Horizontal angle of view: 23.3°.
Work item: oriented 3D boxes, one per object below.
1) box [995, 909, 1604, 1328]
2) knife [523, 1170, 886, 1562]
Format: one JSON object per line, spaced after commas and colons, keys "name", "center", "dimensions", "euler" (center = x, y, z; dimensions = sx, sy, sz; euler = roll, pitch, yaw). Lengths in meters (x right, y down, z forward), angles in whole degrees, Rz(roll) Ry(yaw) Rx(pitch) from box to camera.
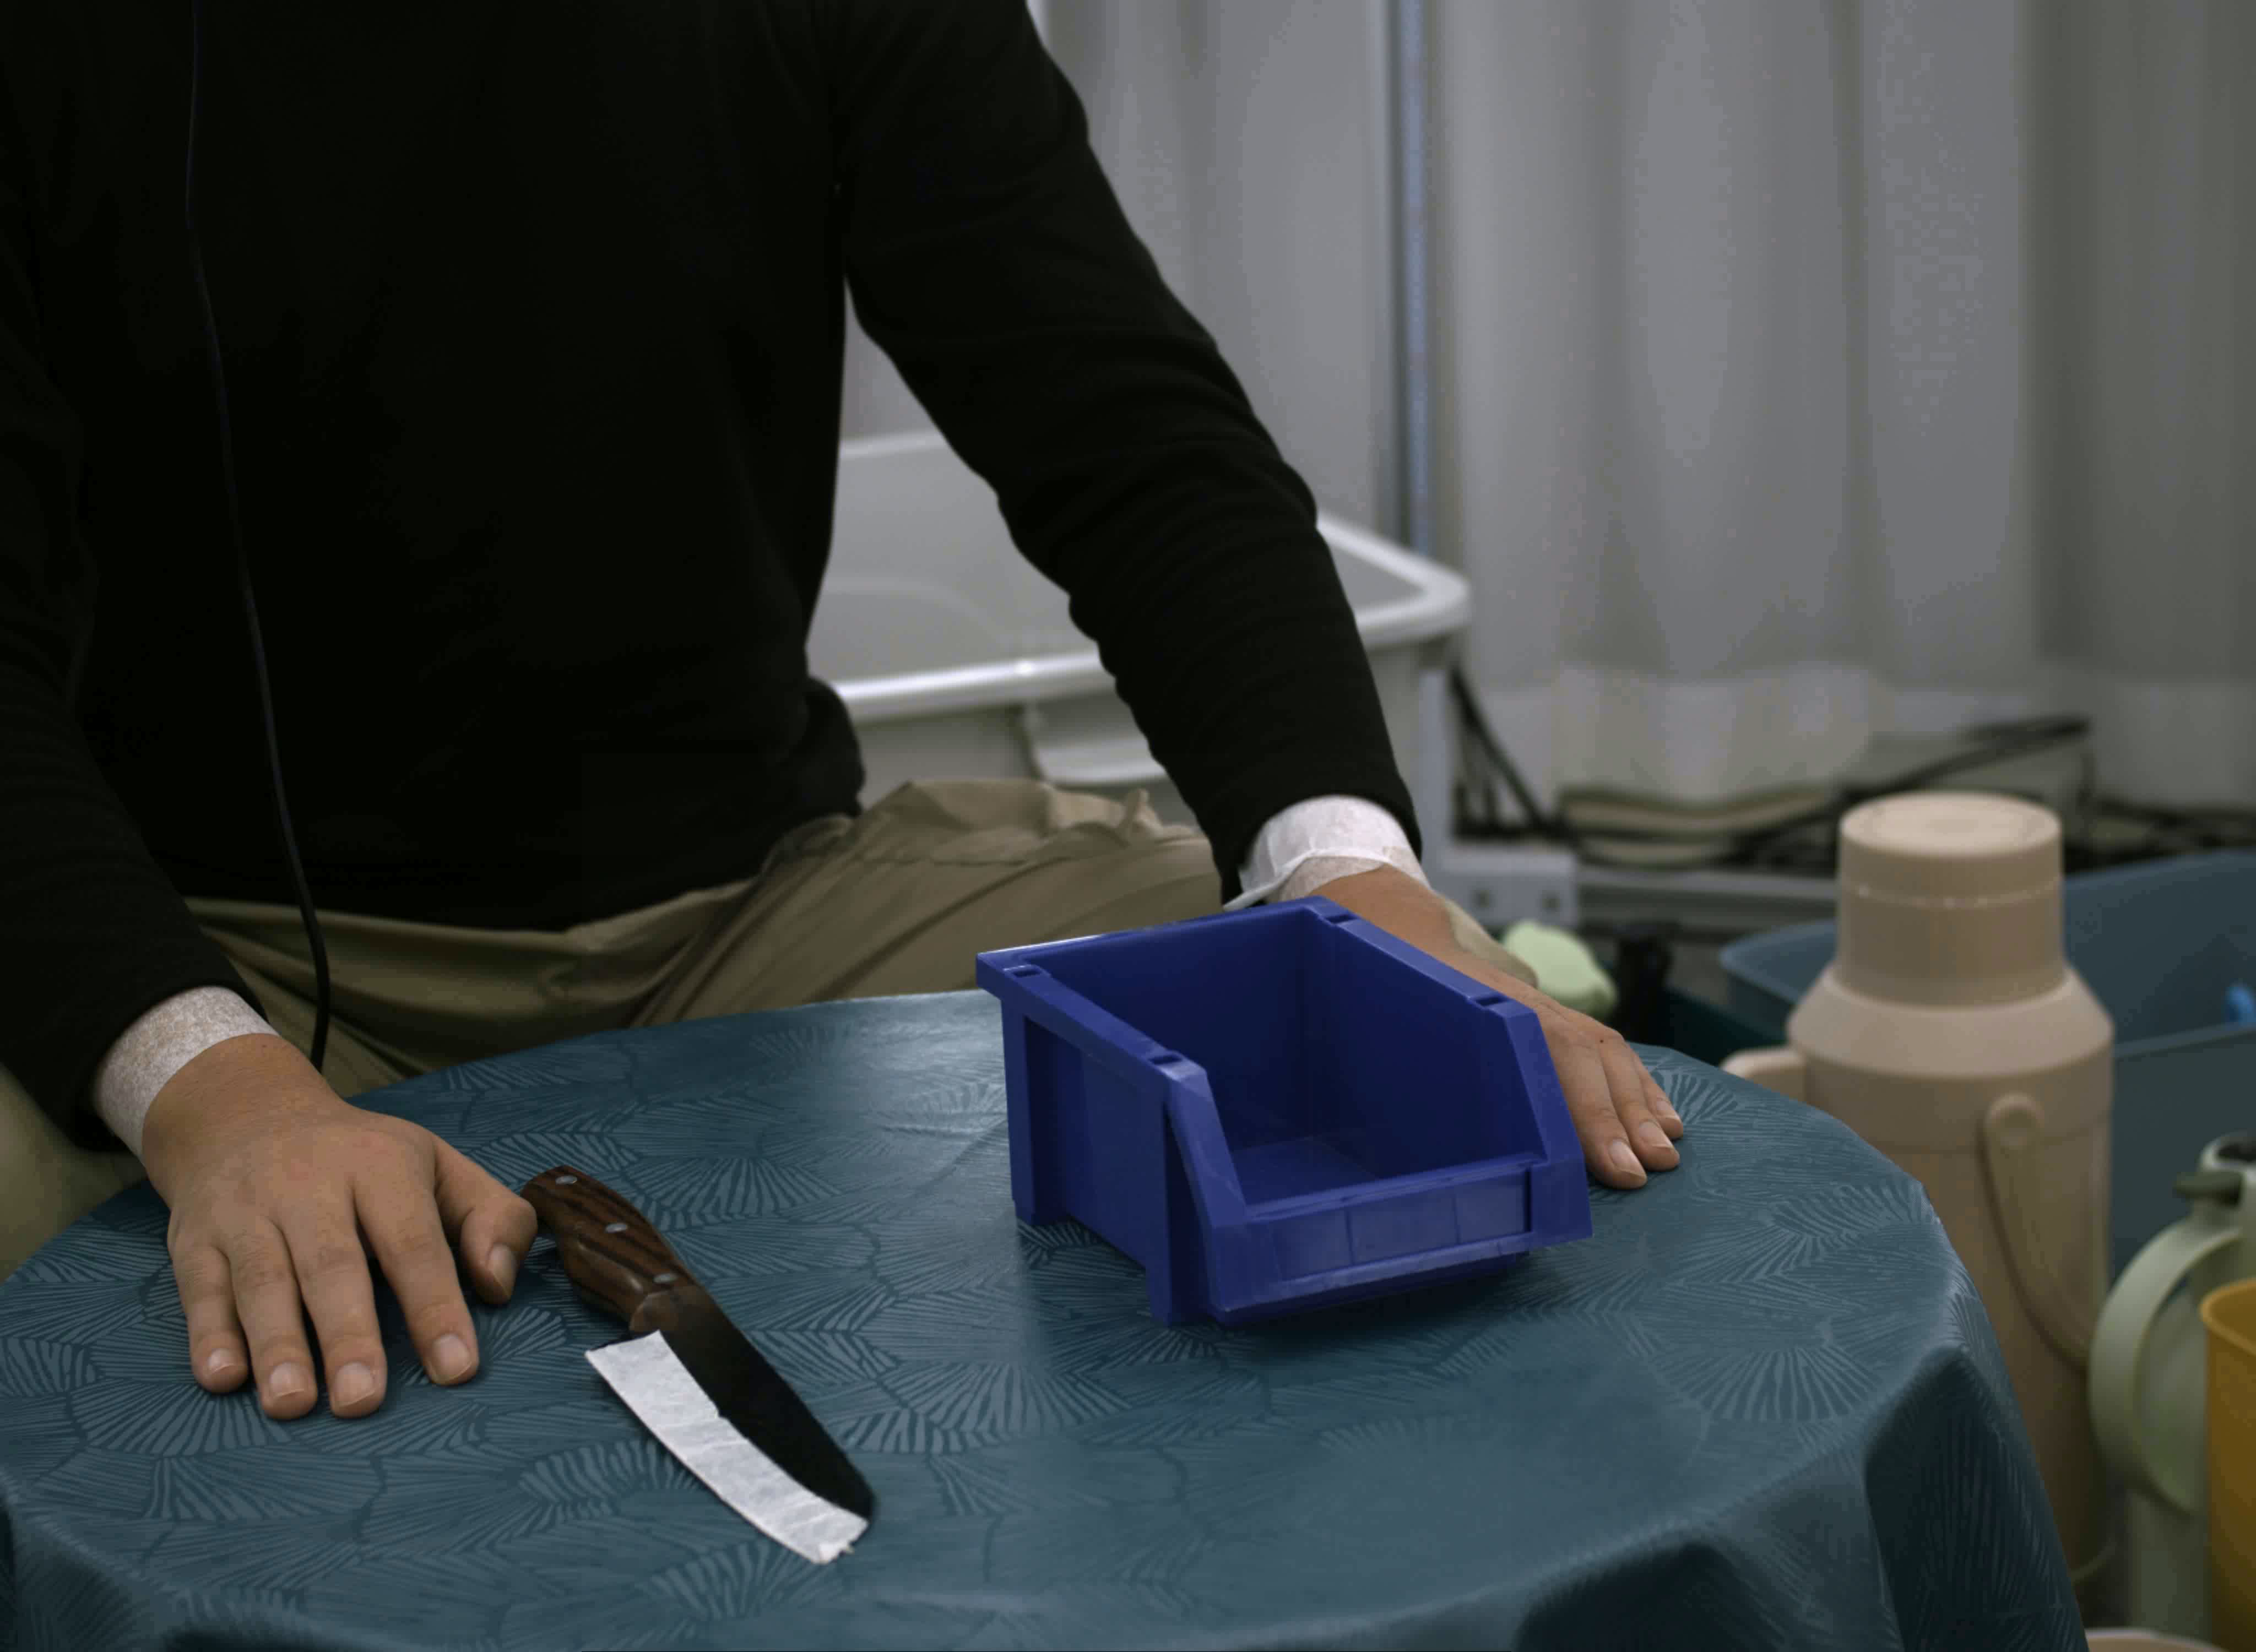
{"name": "box", "center": [0.051, 0.089, 1.641], "dimensions": [0.124, 0.081, 0.180], "euler": [-8, 13, -21]}
{"name": "knife", "center": [-0.126, 0.154, 1.564], "dimensions": [0.050, 0.020, 0.292], "euler": [-13, 20, -17]}
